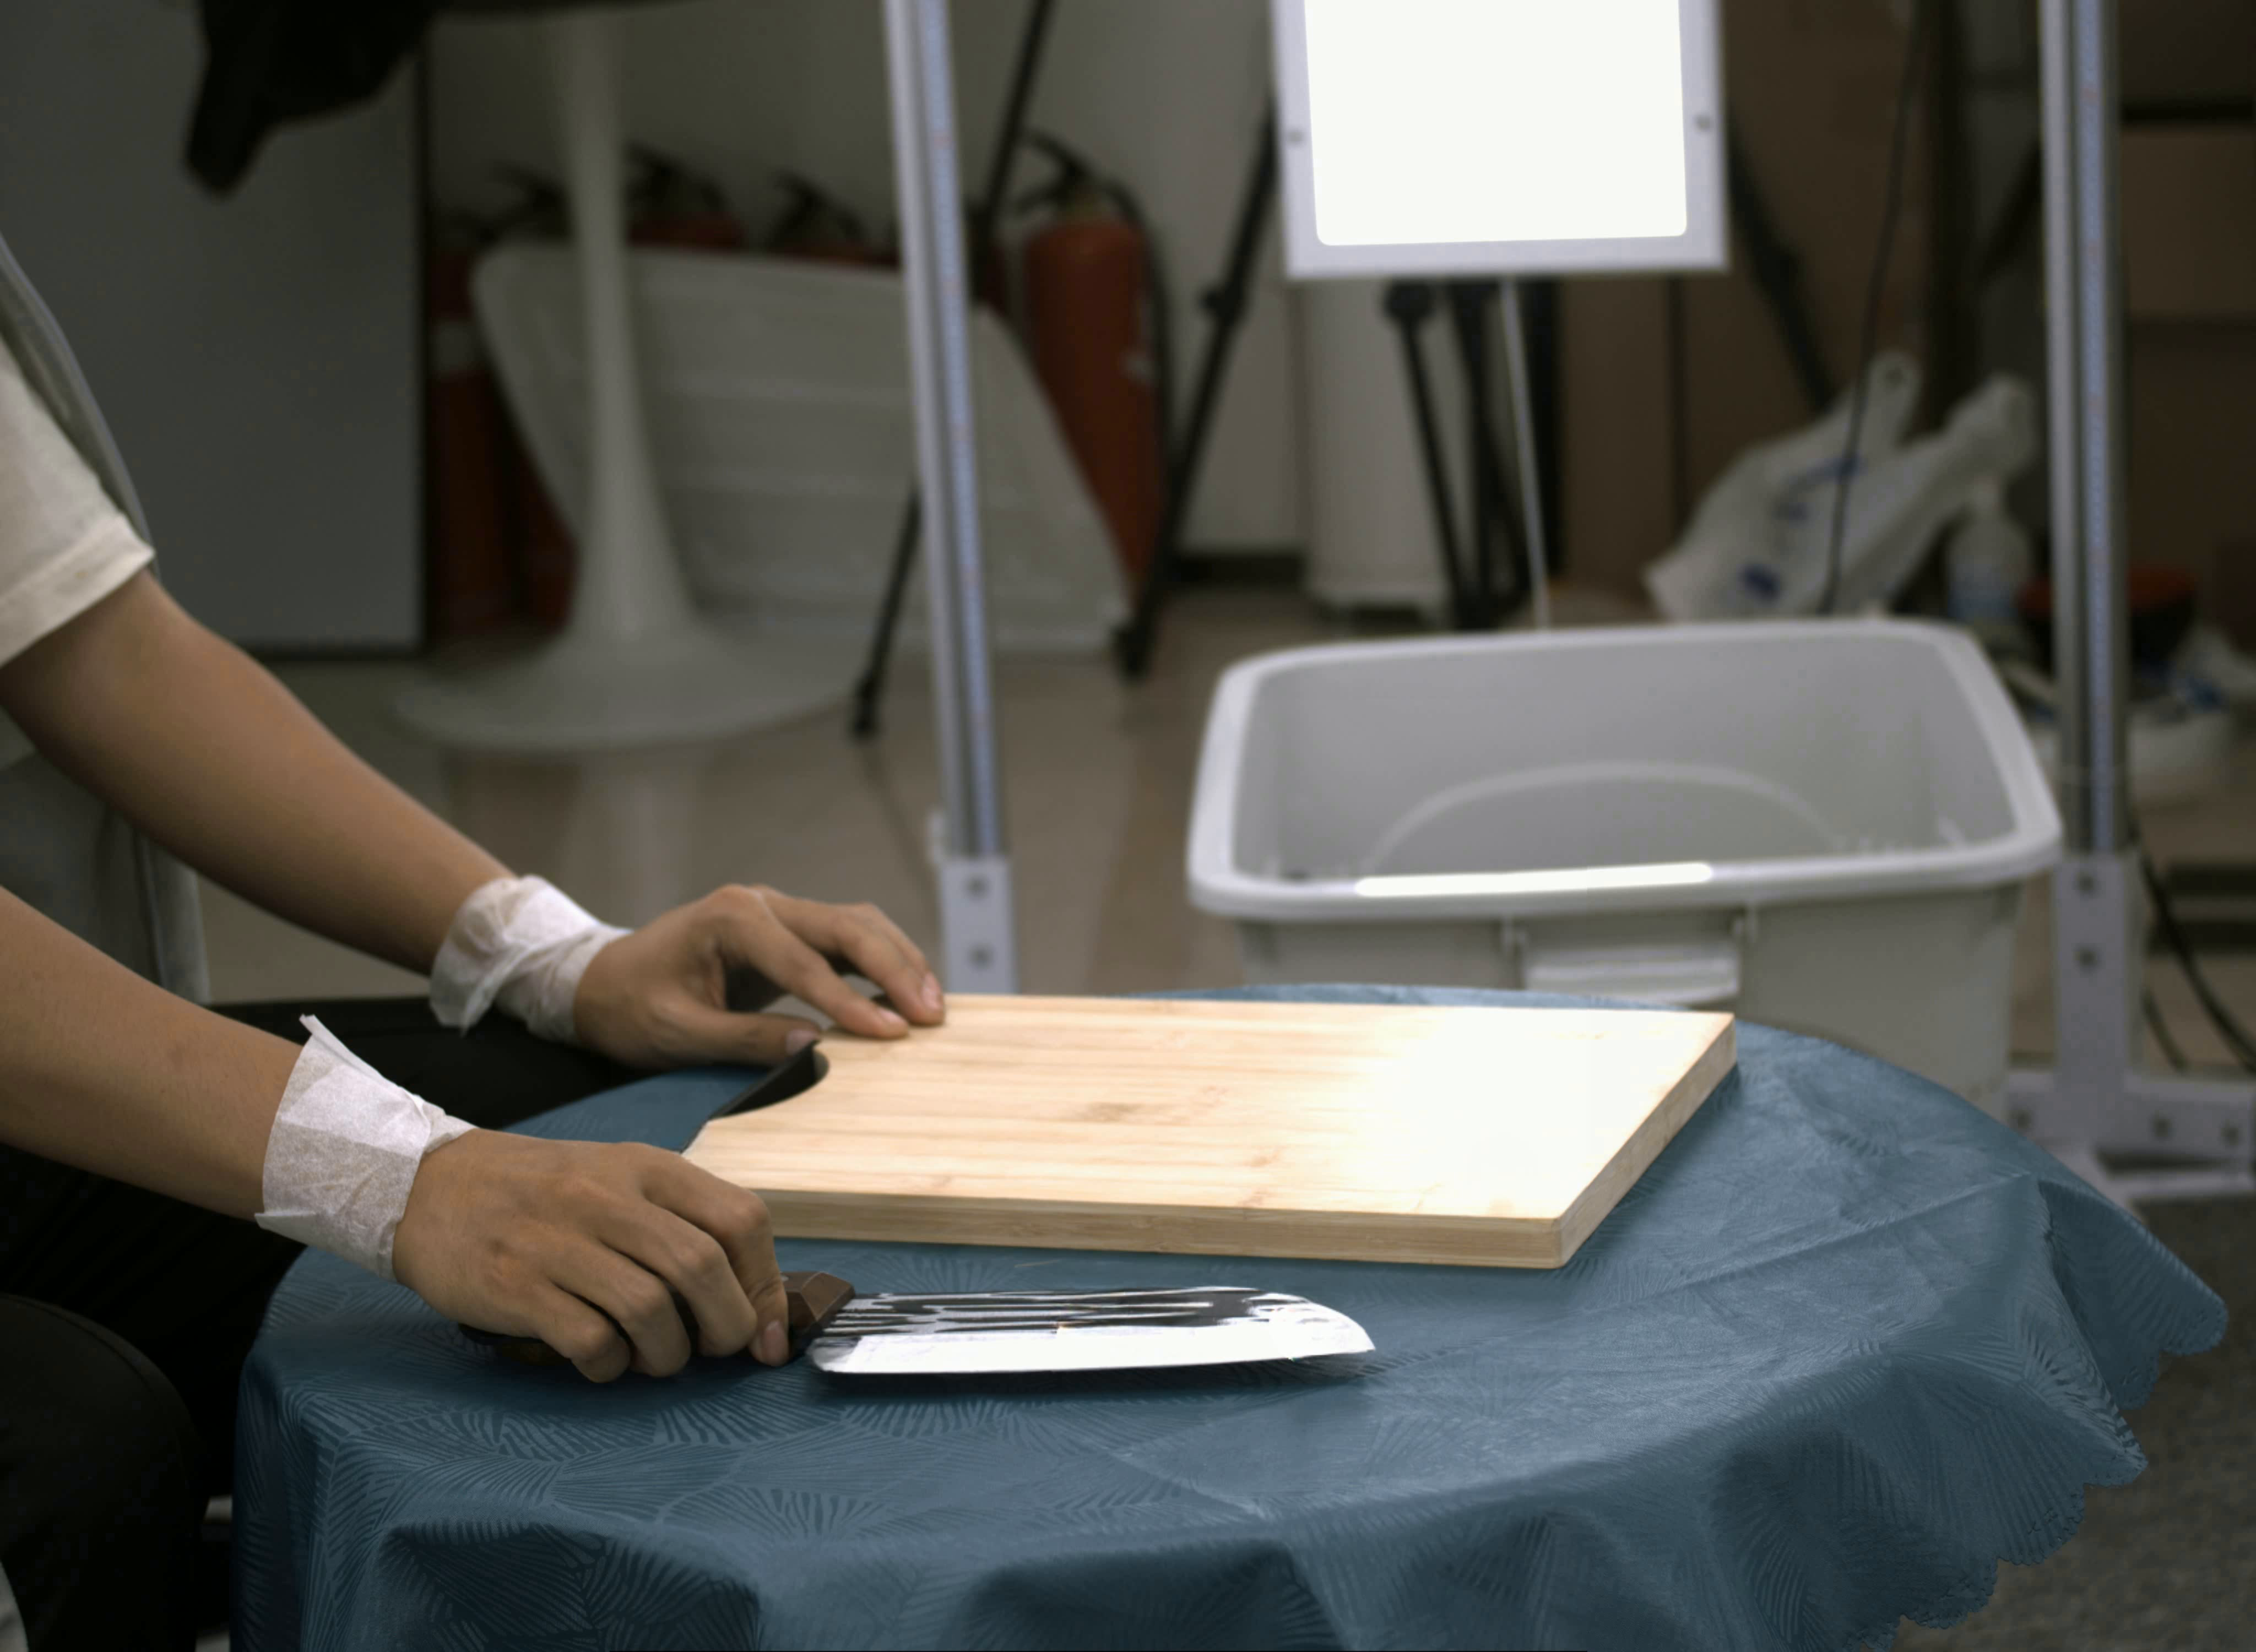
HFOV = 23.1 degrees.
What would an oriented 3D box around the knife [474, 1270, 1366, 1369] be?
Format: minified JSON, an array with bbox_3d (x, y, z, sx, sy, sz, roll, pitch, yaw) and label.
[{"bbox_3d":[-0.070,0.159,1.740,0.302,0.024,0.067,-2,15,13],"label":"knife"}]

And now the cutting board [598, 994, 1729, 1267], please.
[{"bbox_3d":[0.017,0.104,1.948,0.353,0.023,0.246,0,14,21],"label":"cutting board"}]
